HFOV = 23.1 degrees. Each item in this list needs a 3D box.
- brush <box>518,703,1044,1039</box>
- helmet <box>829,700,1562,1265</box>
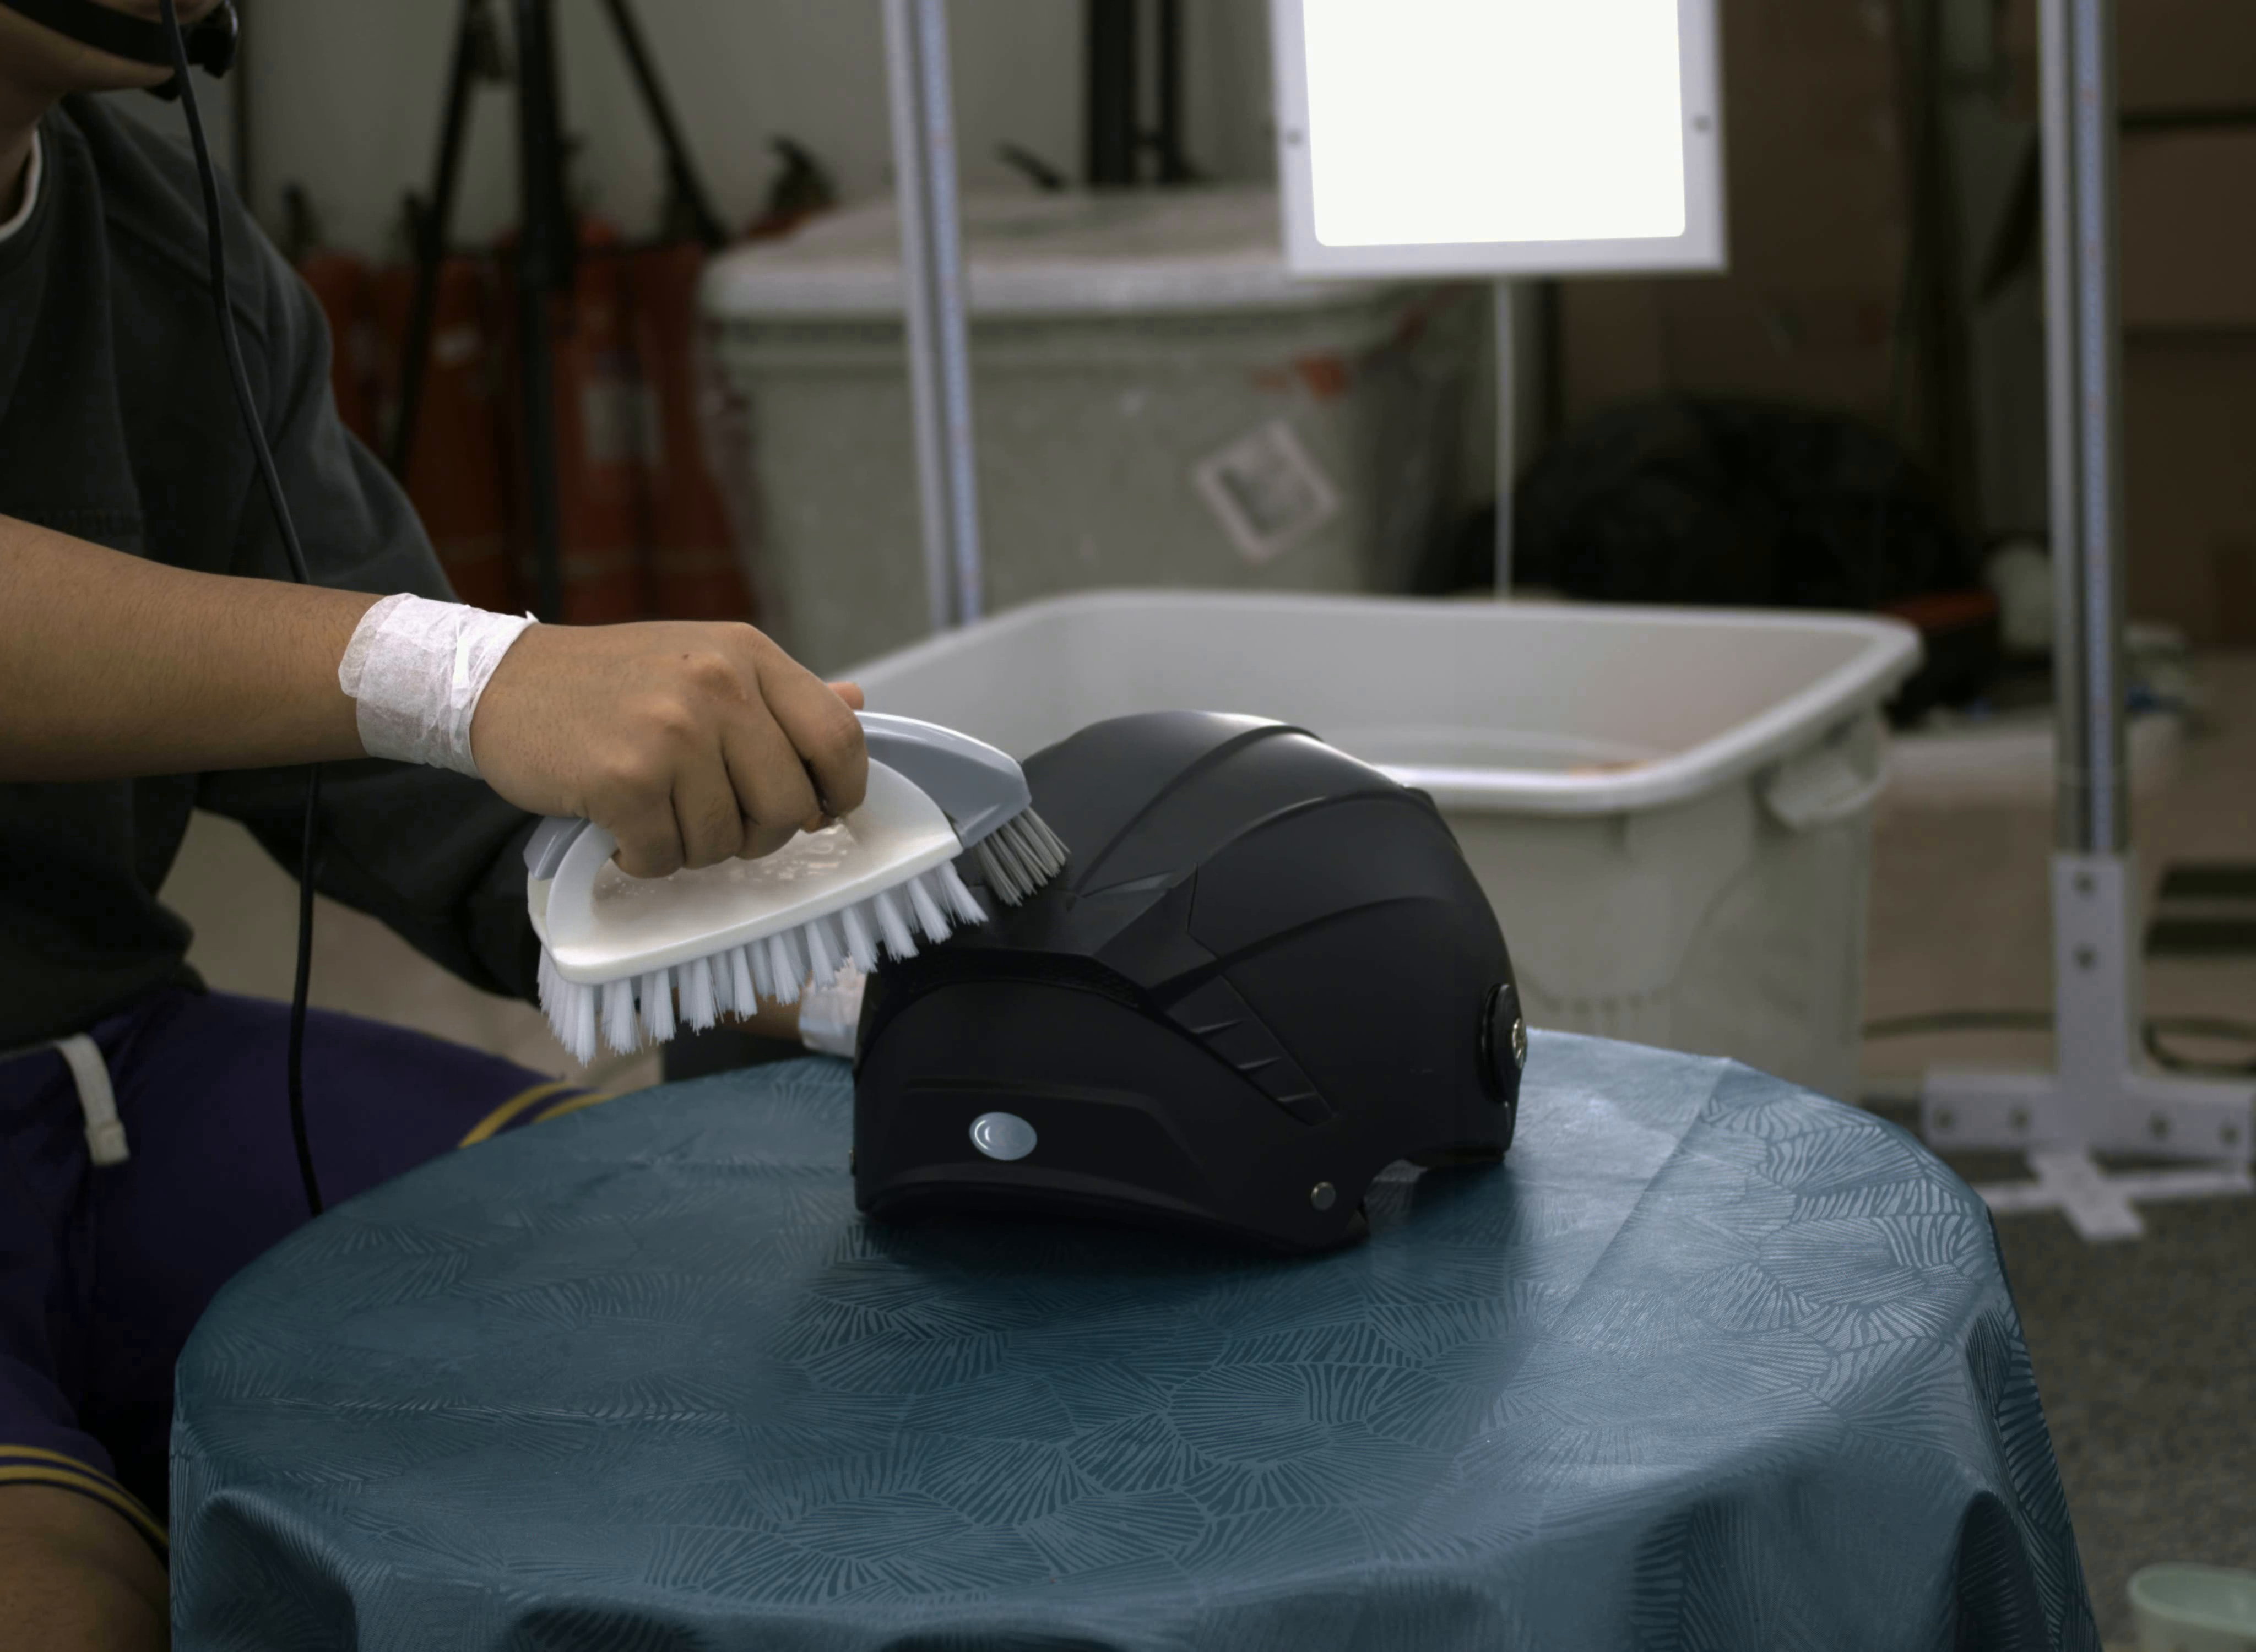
[{"bbox_3d":[-0.111,0.001,1.758,0.173,0.094,0.062,-14,36,-12],"label":"brush"},{"bbox_3d":[0.020,0.043,1.897,0.251,0.173,0.270,4,21,29],"label":"helmet"}]
